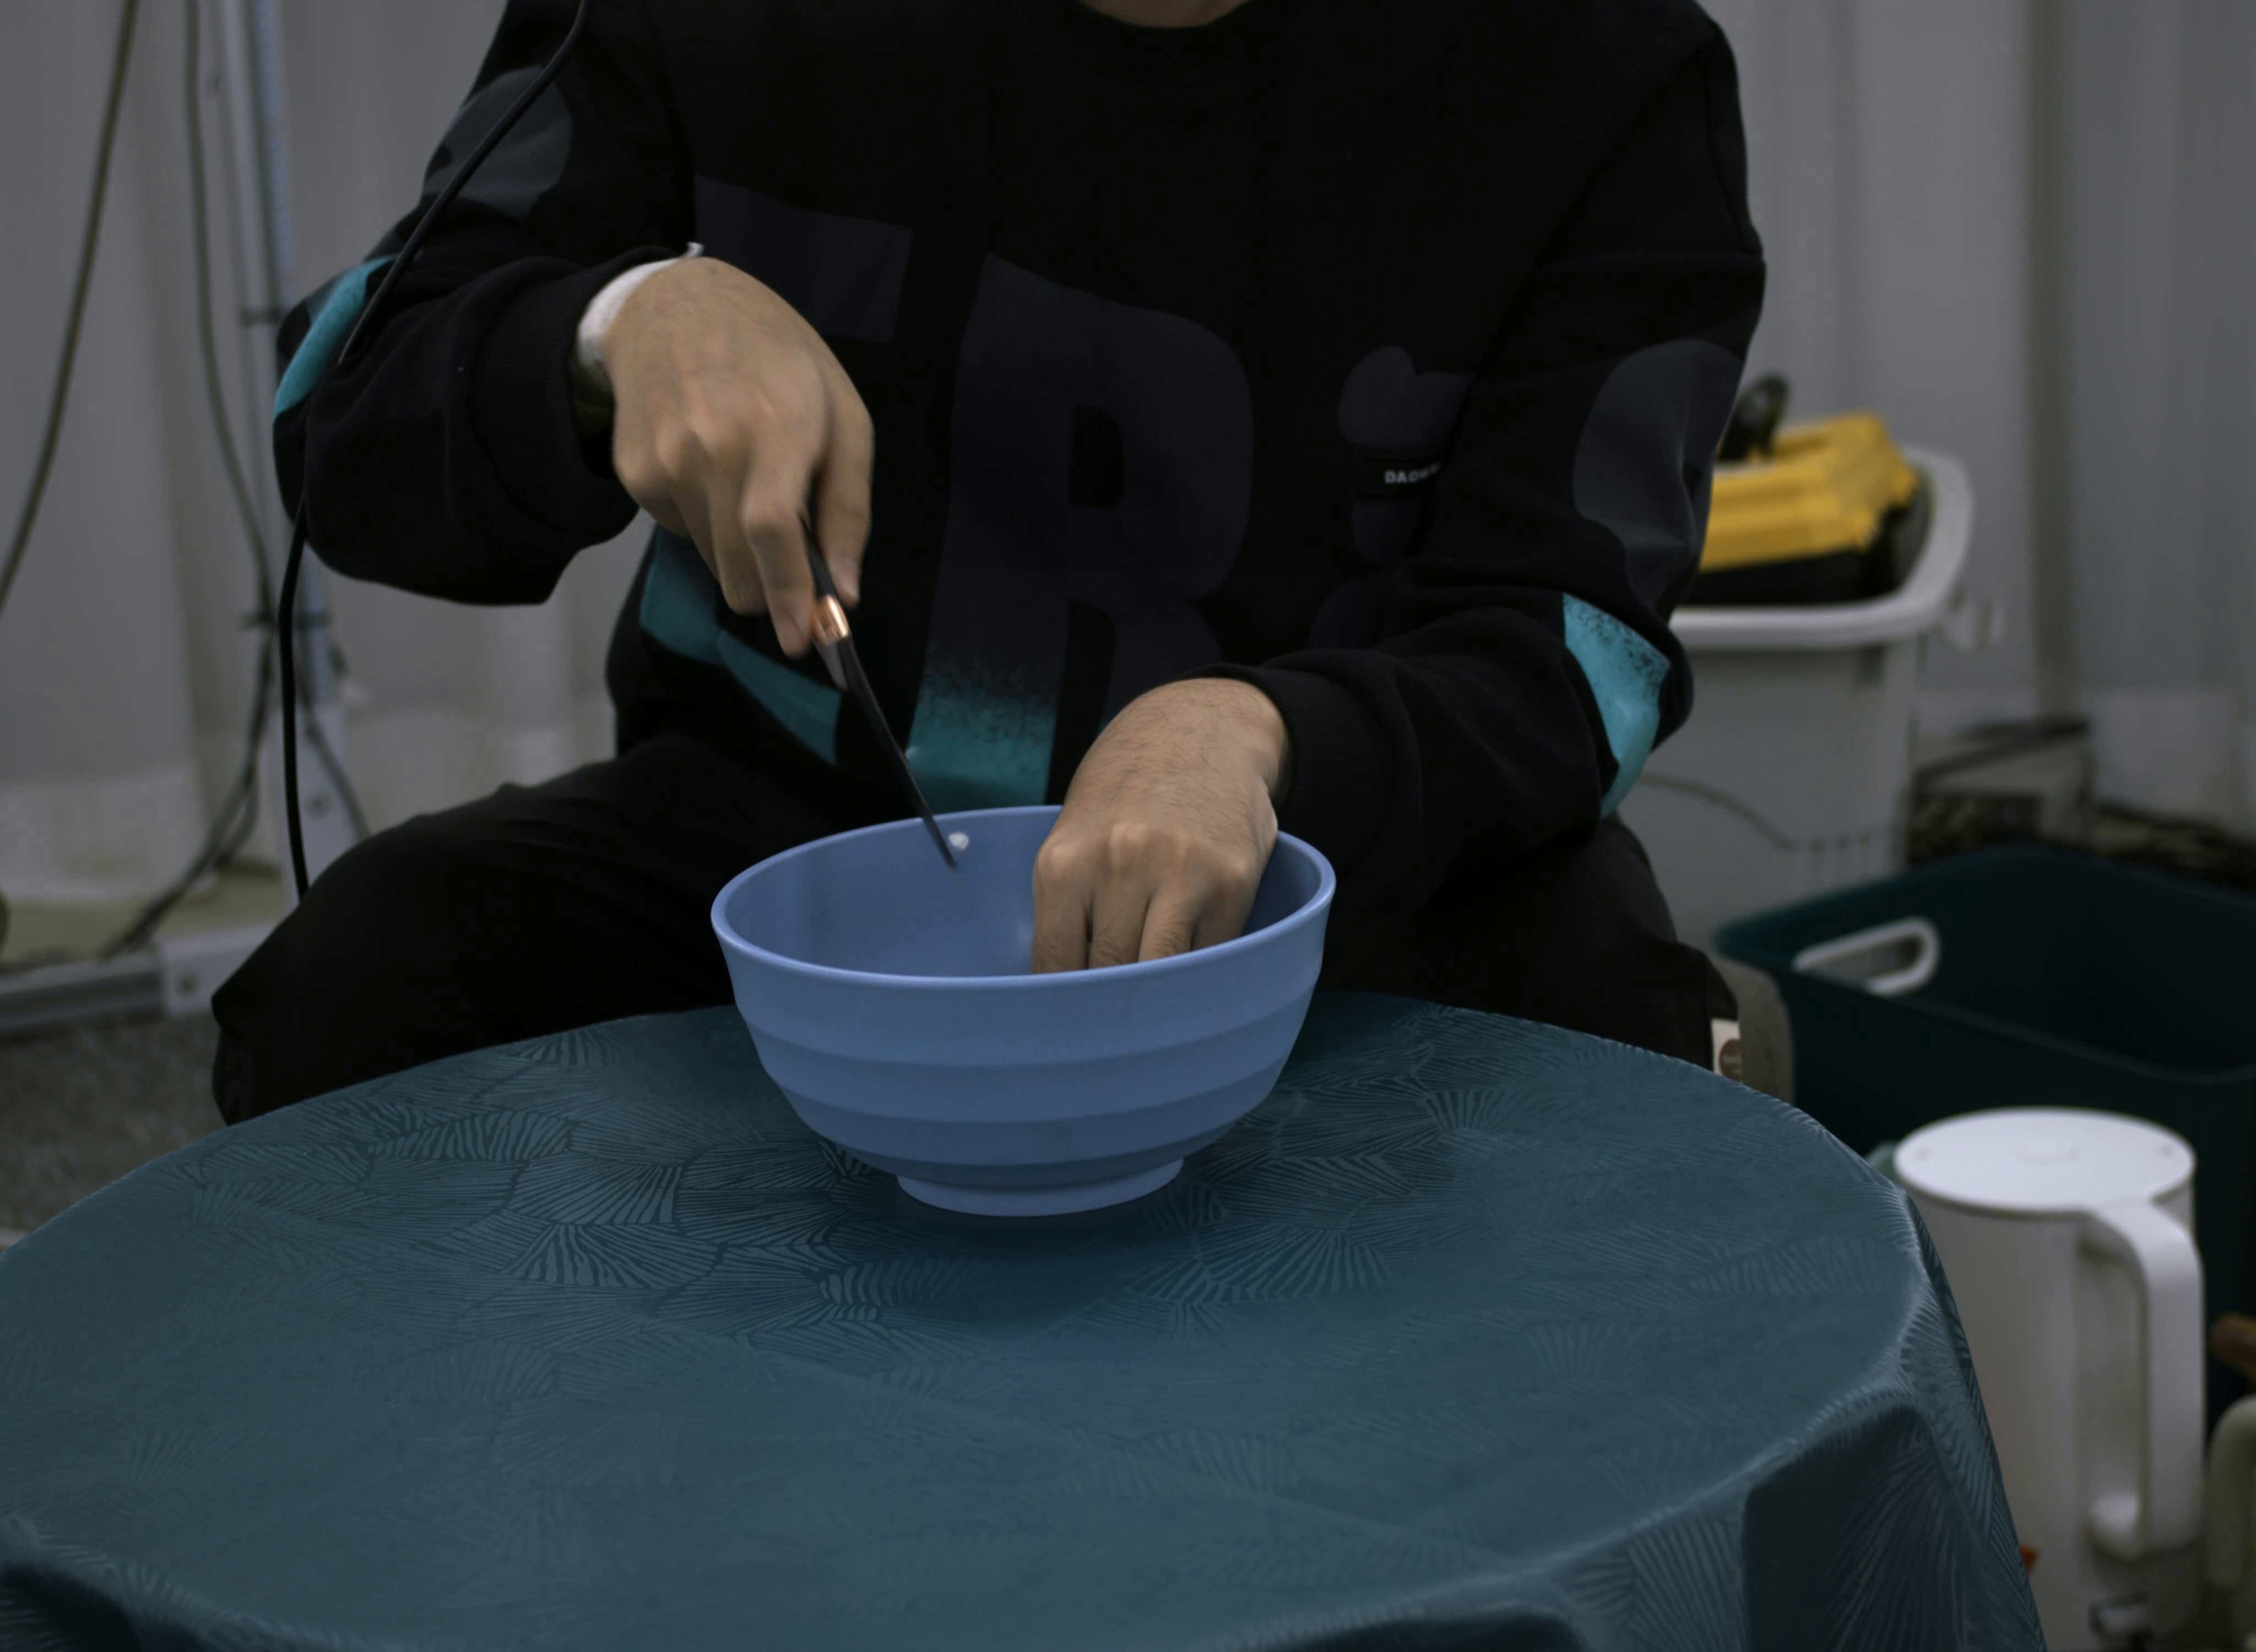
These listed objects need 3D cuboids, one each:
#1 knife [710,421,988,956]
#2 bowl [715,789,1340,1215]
[{"bbox_3d":[-0.089,-0.047,1.755,0.017,0.026,0.229,-17,54,-16],"label":"knife"},{"bbox_3d":[-0.030,0.062,1.725,0.196,0.095,0.198,-2,18,0],"label":"bowl"}]
